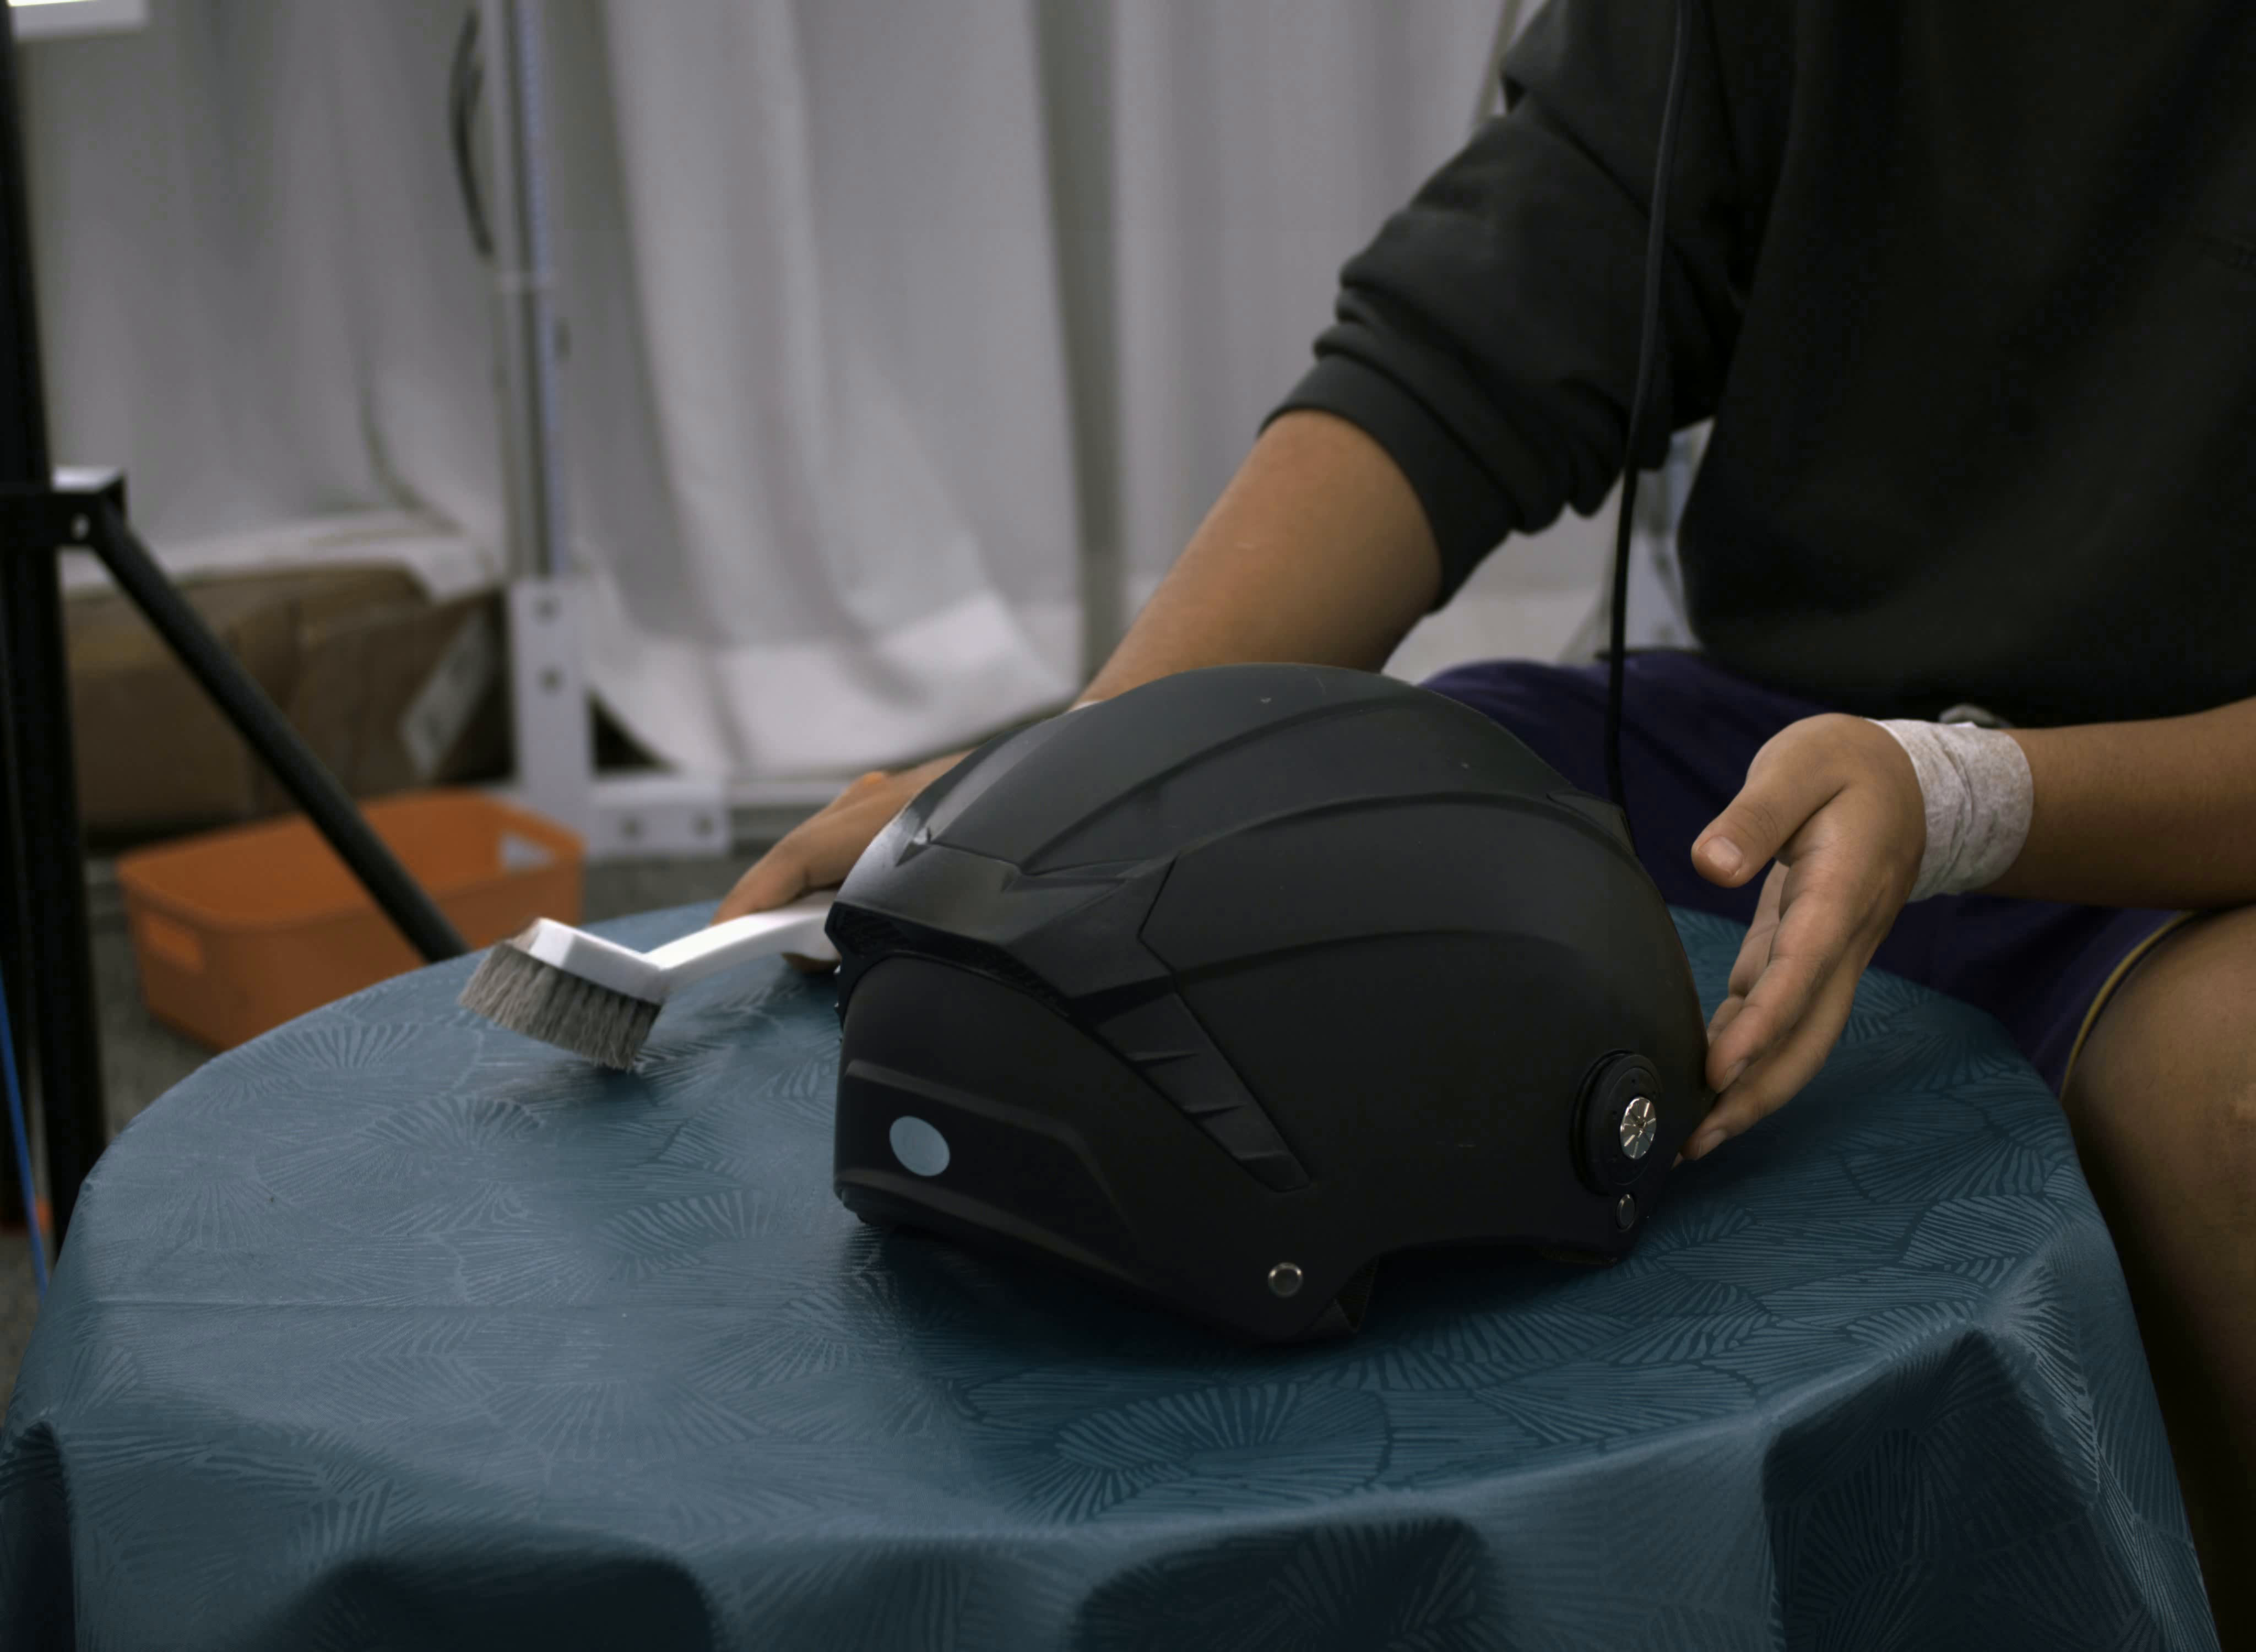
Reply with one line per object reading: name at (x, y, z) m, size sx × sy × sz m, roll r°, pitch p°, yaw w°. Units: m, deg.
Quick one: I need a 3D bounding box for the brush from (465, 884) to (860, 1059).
brush at (-0.122, 0.046, 1.748) m, size 0.035 × 0.050 × 0.237 m, roll 19°, pitch 13°, yaw 36°

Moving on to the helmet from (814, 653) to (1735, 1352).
helmet at (0.042, 0.037, 1.514) m, size 0.270 × 0.172 × 0.252 m, roll -19°, pitch 23°, yaw -38°
